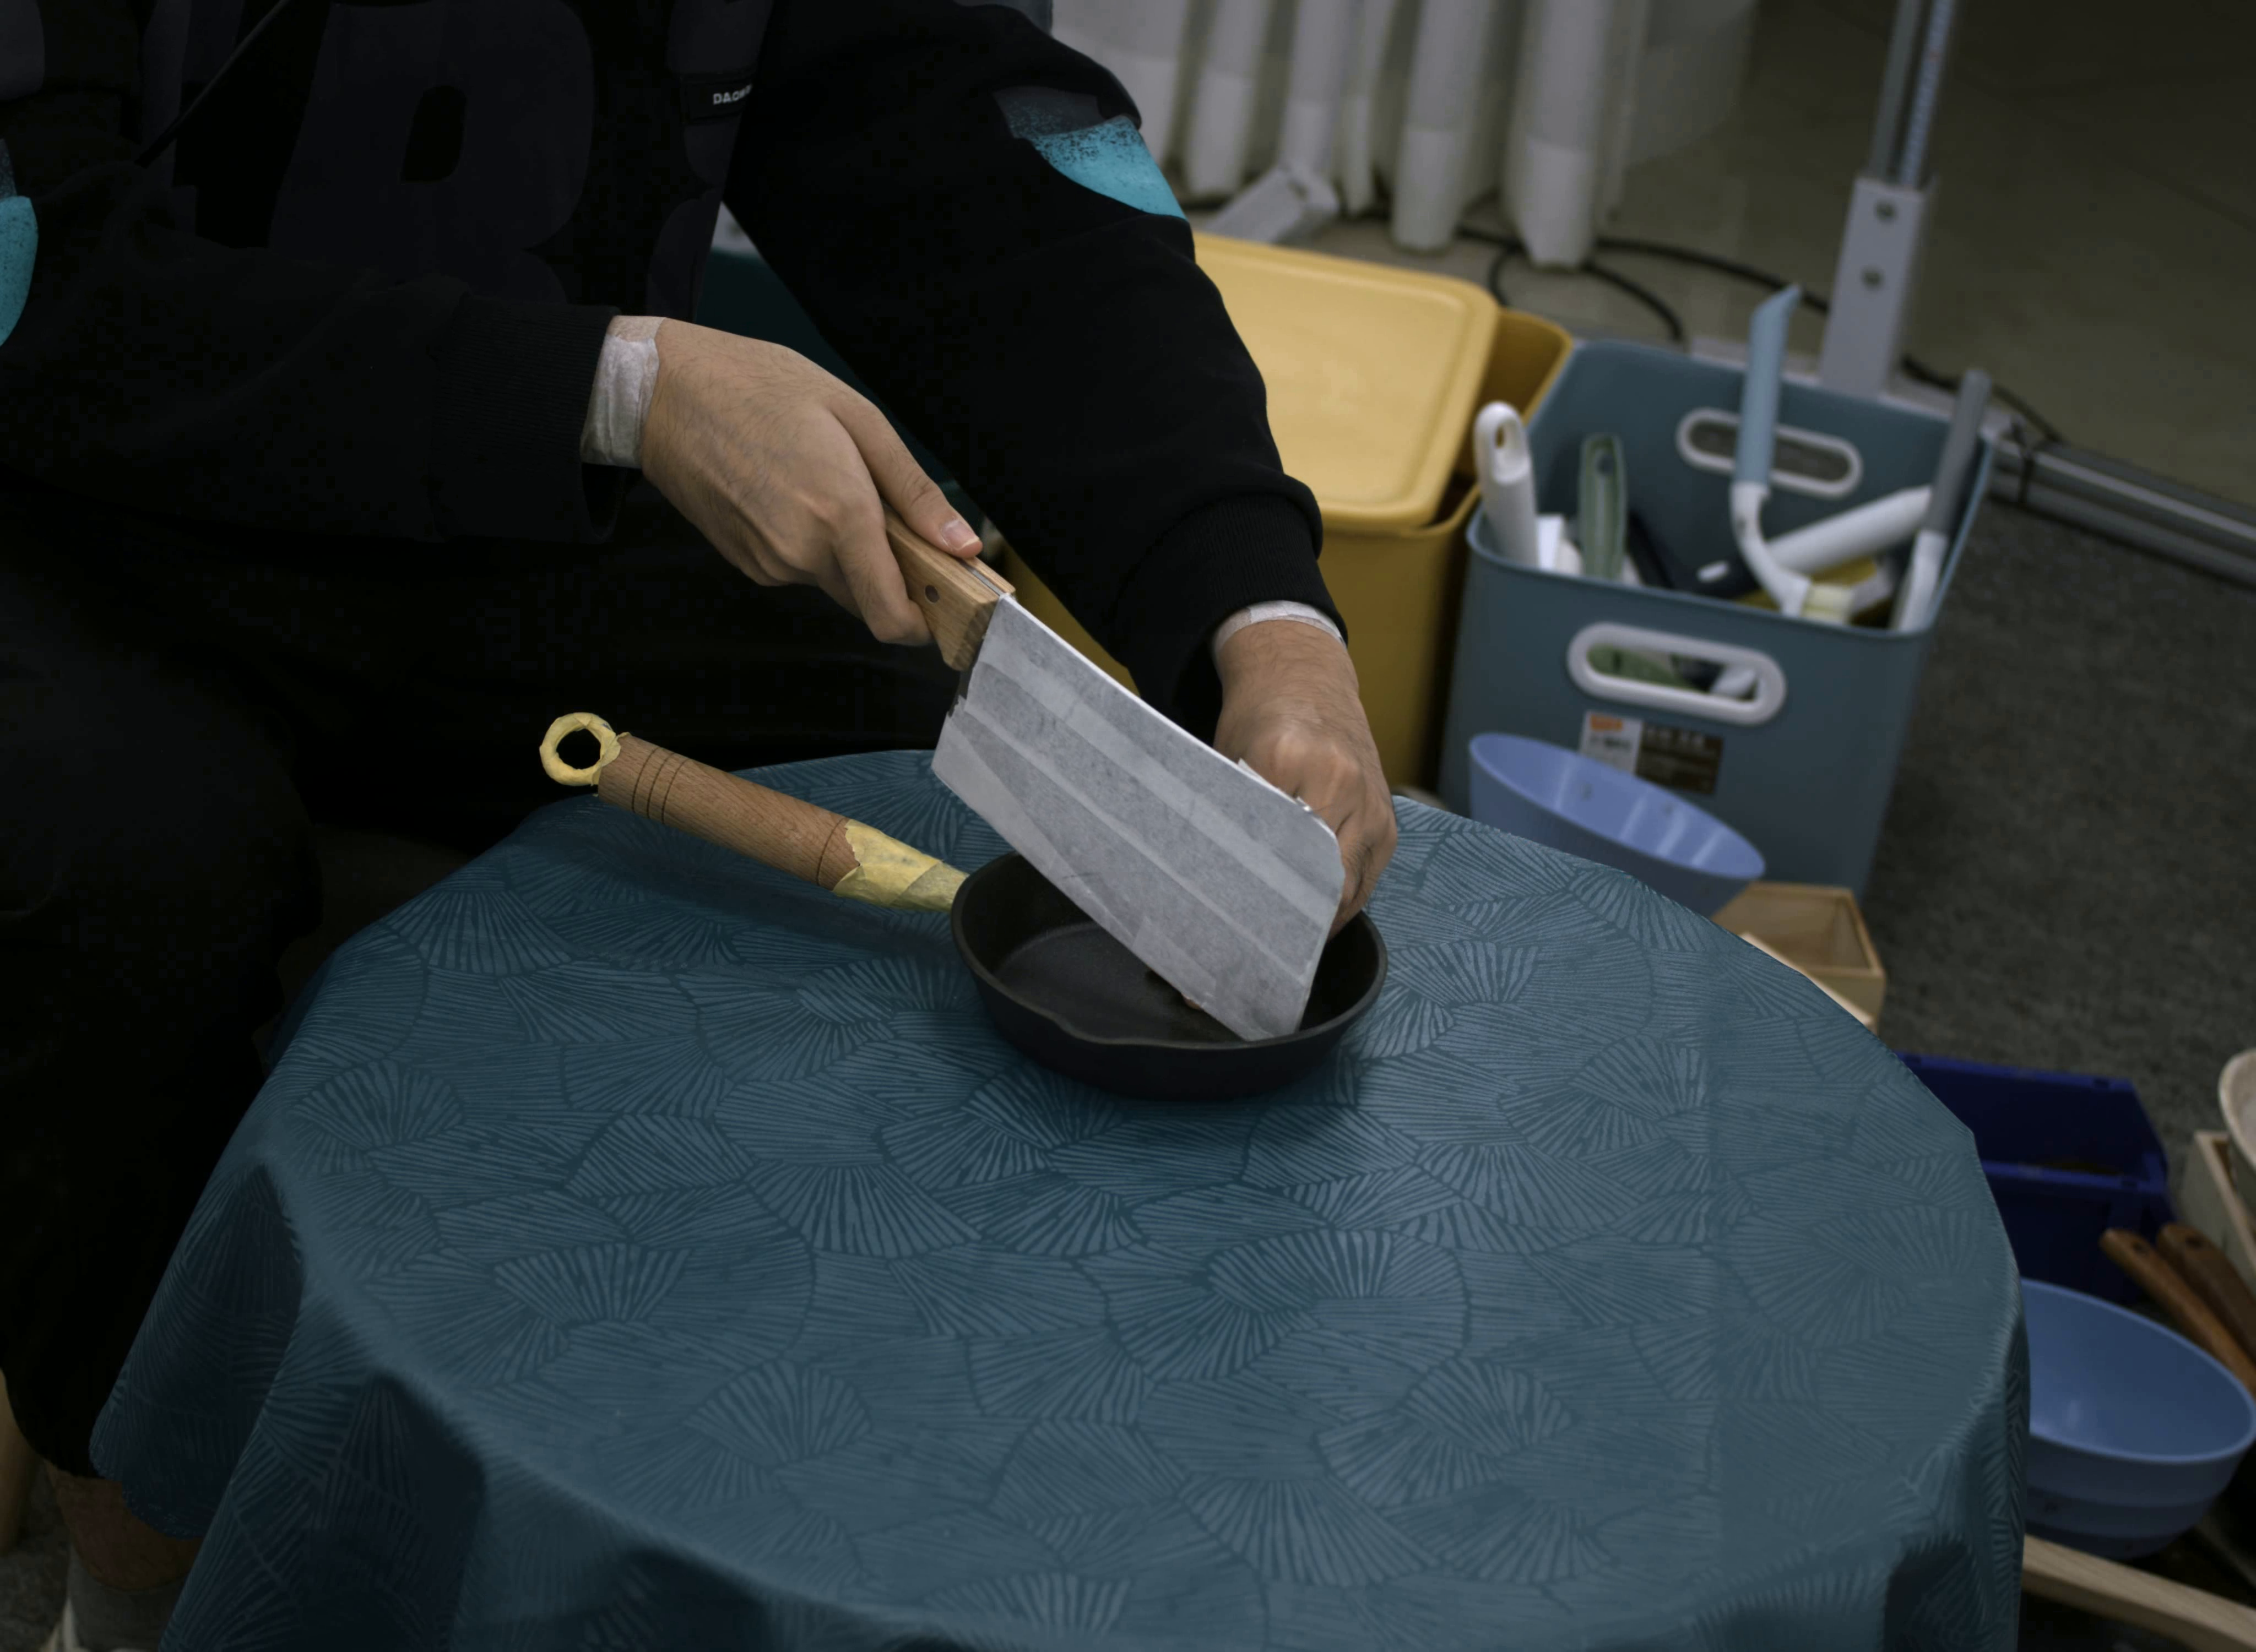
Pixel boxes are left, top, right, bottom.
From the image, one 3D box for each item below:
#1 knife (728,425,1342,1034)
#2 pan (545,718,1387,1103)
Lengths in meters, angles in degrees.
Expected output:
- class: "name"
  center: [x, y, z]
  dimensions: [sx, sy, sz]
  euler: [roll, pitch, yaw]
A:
- class: "knife"
  center: [-0.036, -0.043, 1.919]
  dimensions: [0.317, 0.113, 0.021]
  euler: [43, 39, 25]
- class: "pan"
  center: [-0.064, 0.025, 1.927]
  dimensions: [0.325, 0.049, 0.169]
  euler: [16, 29, 16]
